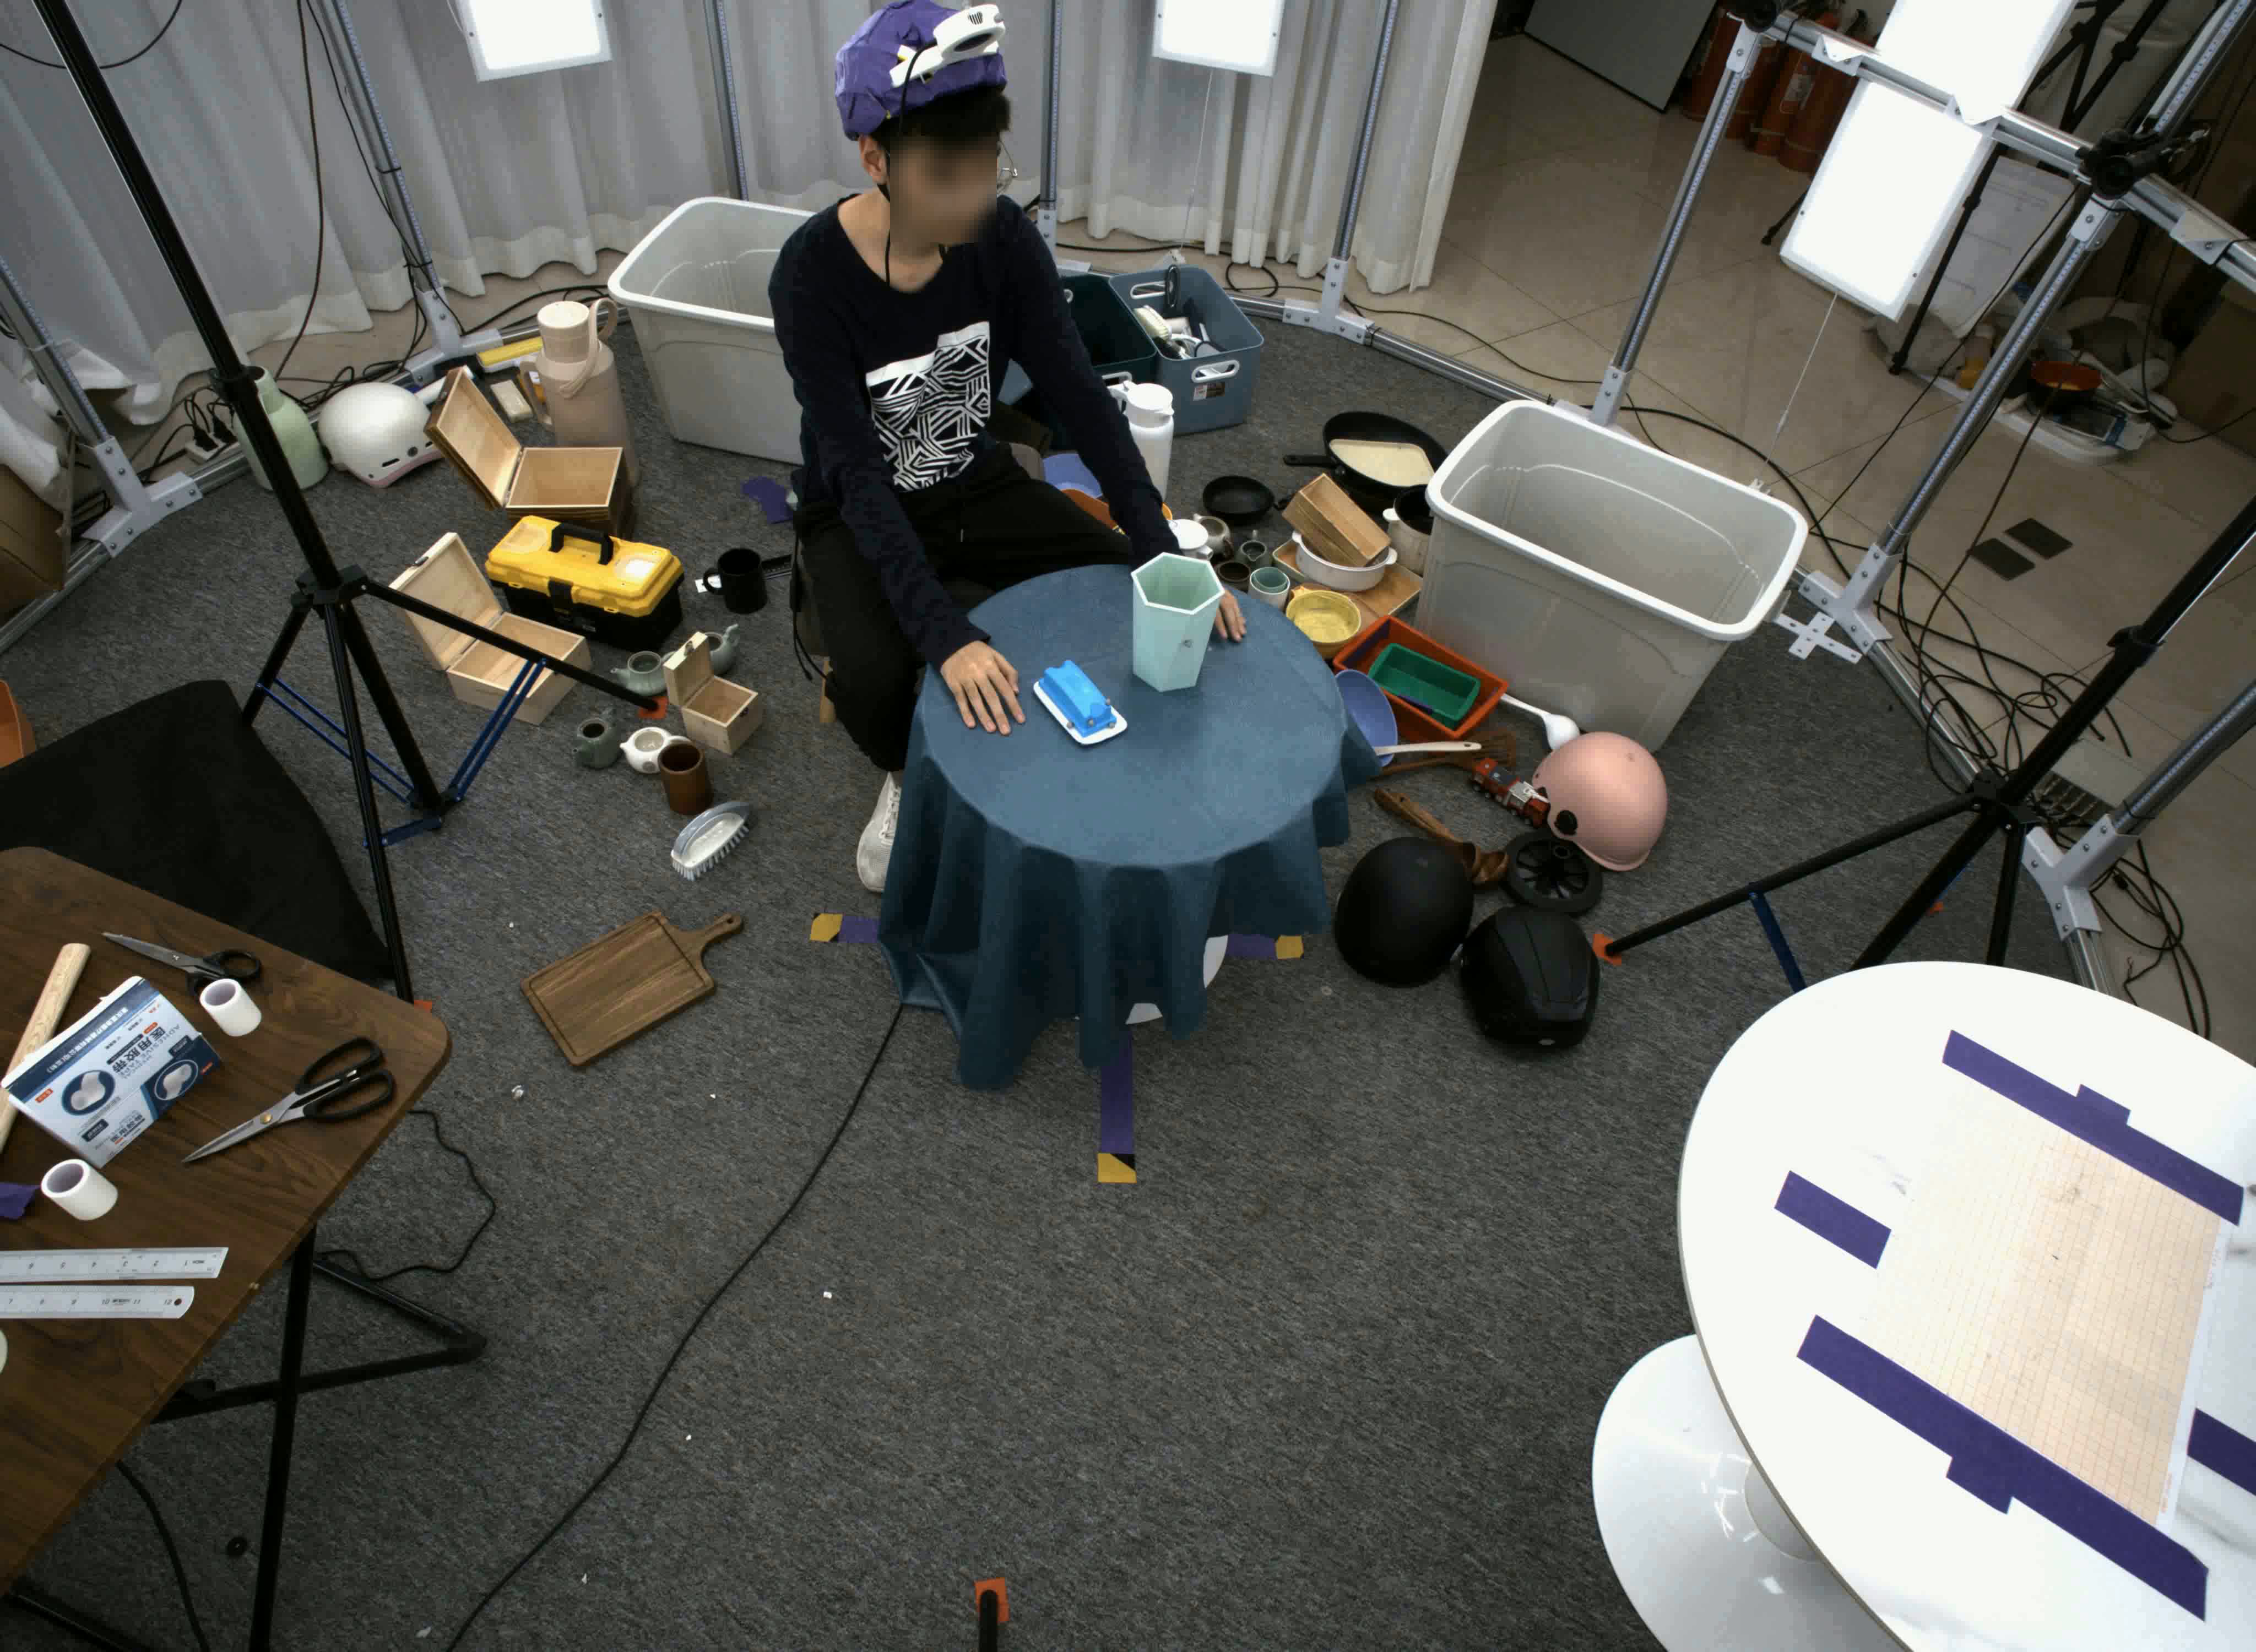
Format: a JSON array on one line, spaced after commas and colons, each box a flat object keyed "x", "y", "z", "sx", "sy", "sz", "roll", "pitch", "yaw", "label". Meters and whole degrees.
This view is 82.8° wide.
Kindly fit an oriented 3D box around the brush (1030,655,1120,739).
[{"x": -0.072, "y": -0.186, "z": 1.785, "sx": 0.084, "sy": 0.054, "sz": 0.147, "roll": -20, "pitch": 55, "yaw": -24, "label": "brush"}]

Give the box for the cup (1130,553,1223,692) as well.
[{"x": 0.064, "y": -0.282, "z": 1.812, "sx": 0.117, "sy": 0.159, "sz": 0.132, "roll": 35, "pitch": 56, "yaw": 25, "label": "cup"}]
